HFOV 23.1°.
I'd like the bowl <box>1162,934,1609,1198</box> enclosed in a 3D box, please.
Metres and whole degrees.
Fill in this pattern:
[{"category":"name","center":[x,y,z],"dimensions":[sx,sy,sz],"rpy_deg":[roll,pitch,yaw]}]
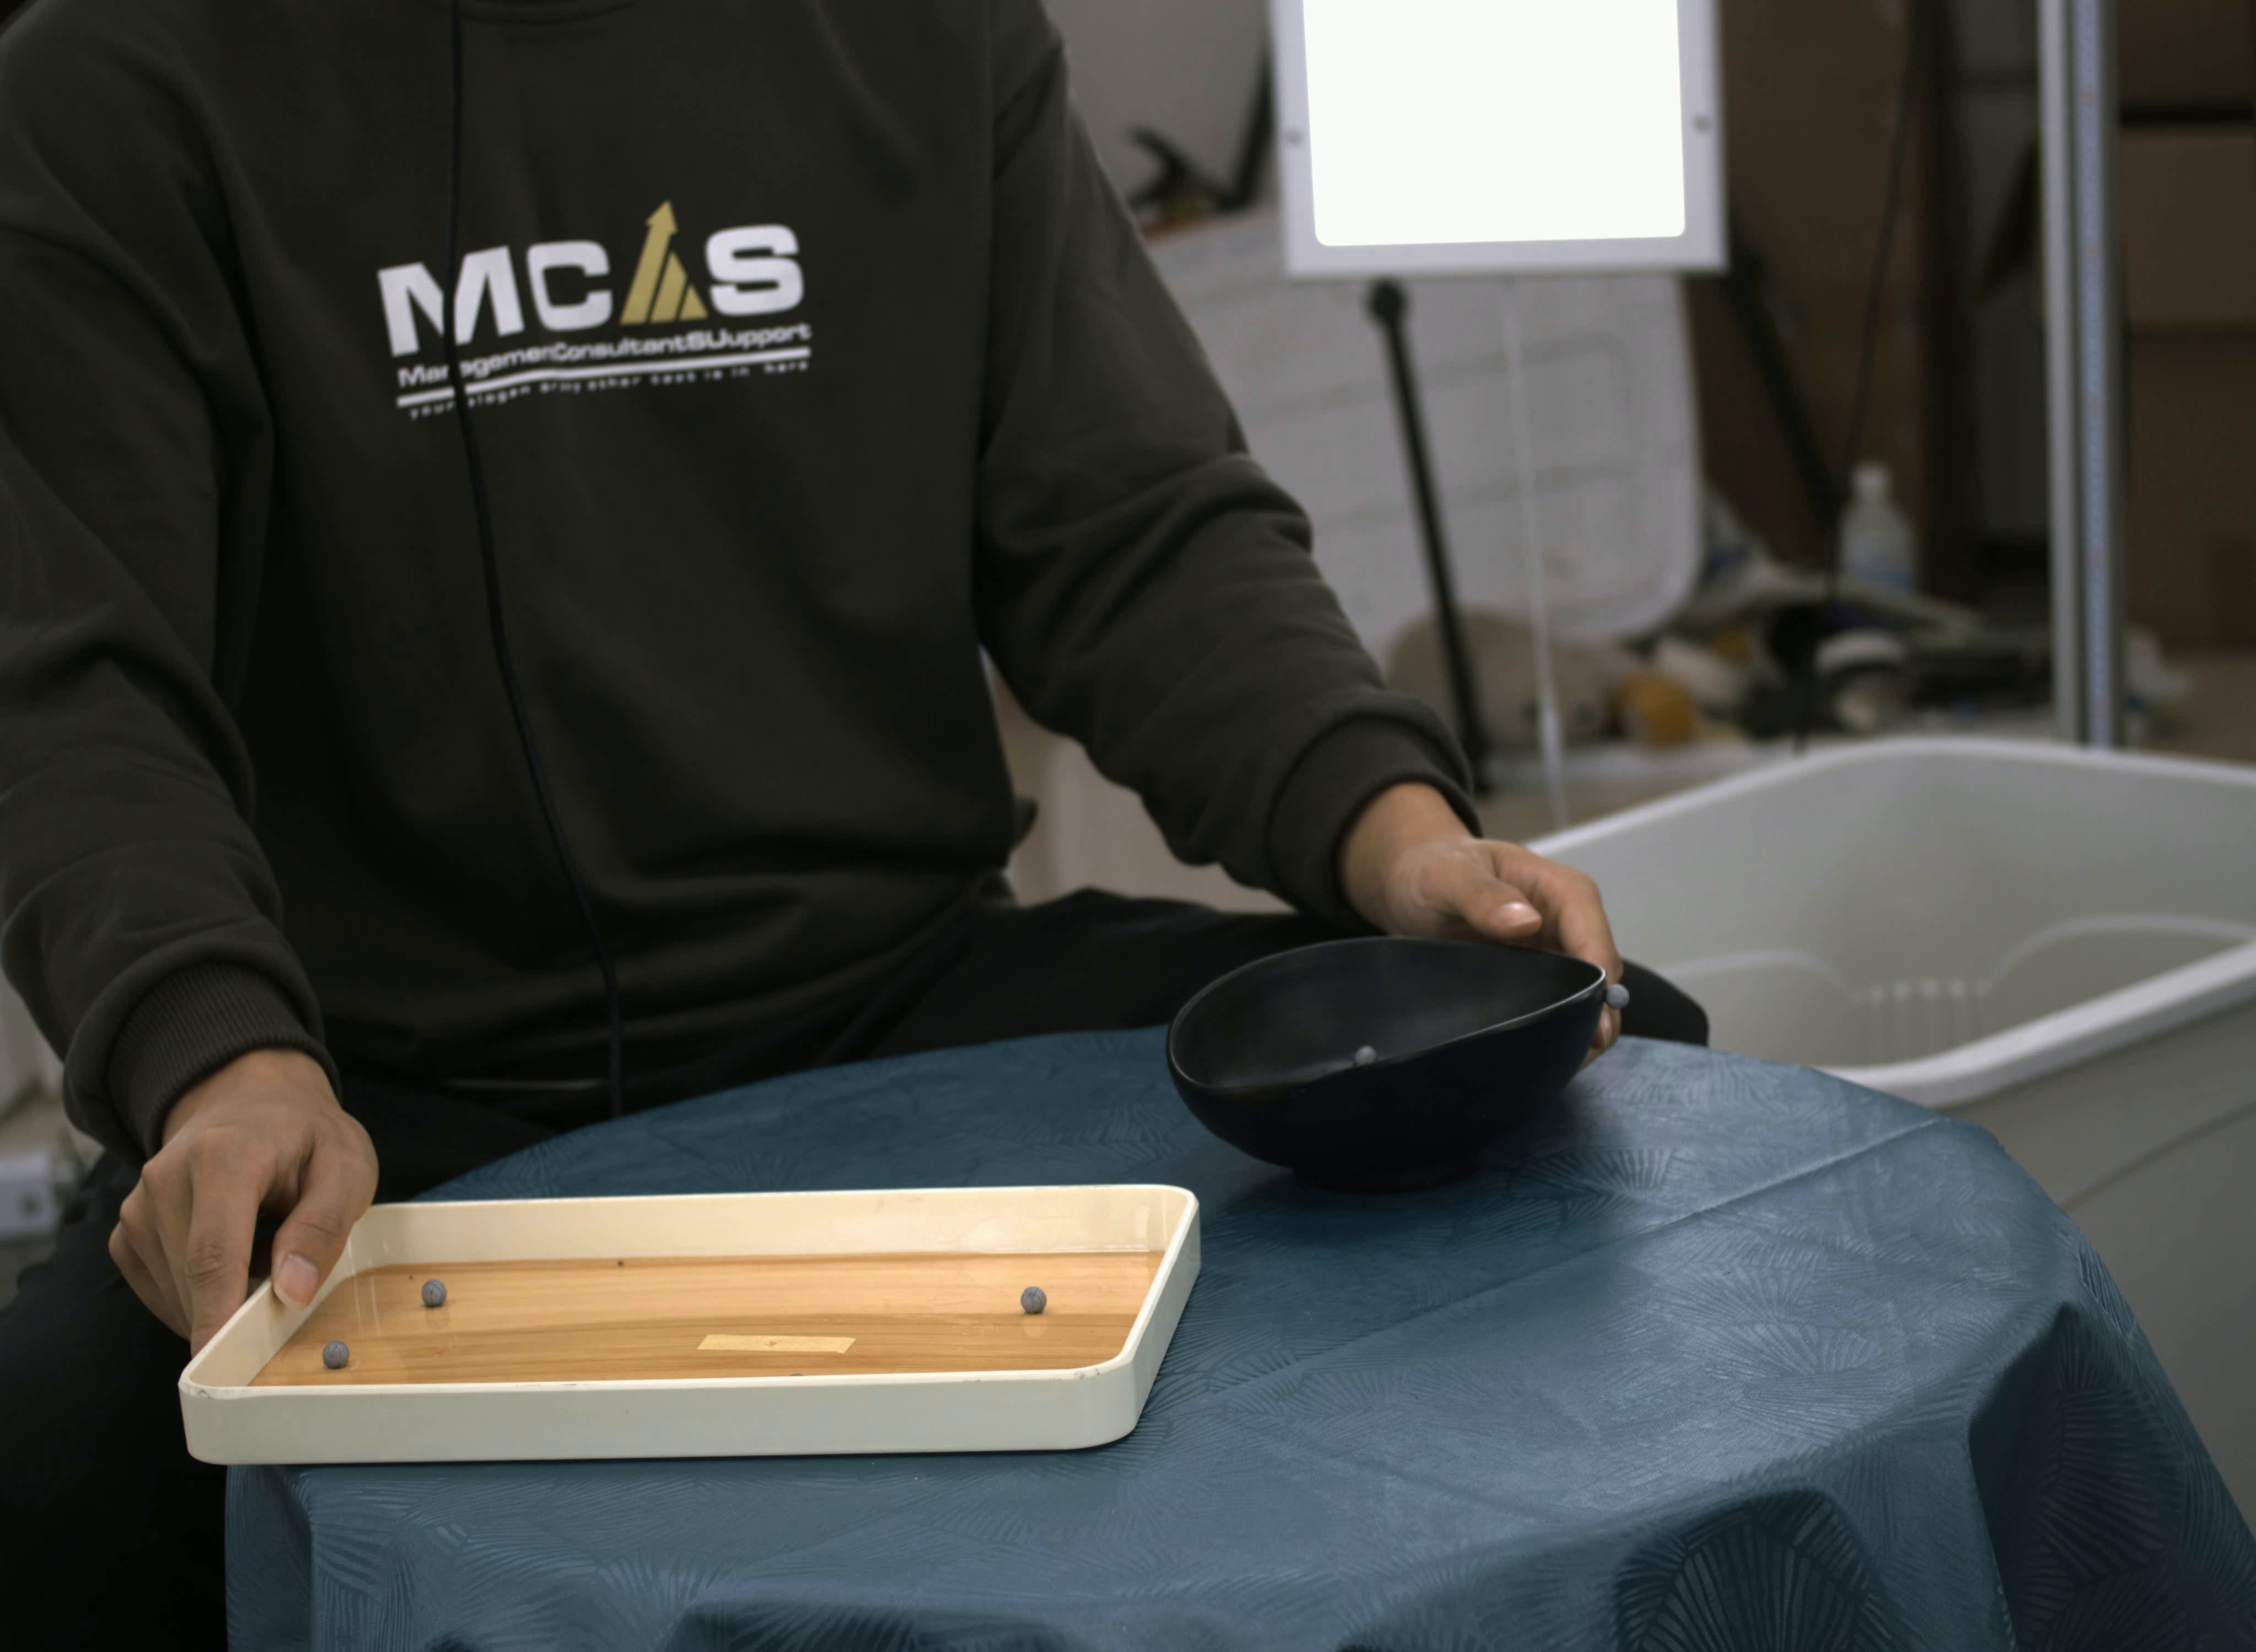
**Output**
[{"category":"bowl","center":[0.092,0.087,1.898],"dimensions":[0.166,0.067,0.140],"rpy_deg":[-18,17,-38]}]

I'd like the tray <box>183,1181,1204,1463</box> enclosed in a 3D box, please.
[{"category":"tray","center":[-0.133,0.157,1.762],"dimensions":[0.302,0.027,0.189],"rpy_deg":[-2,14,11]}]
